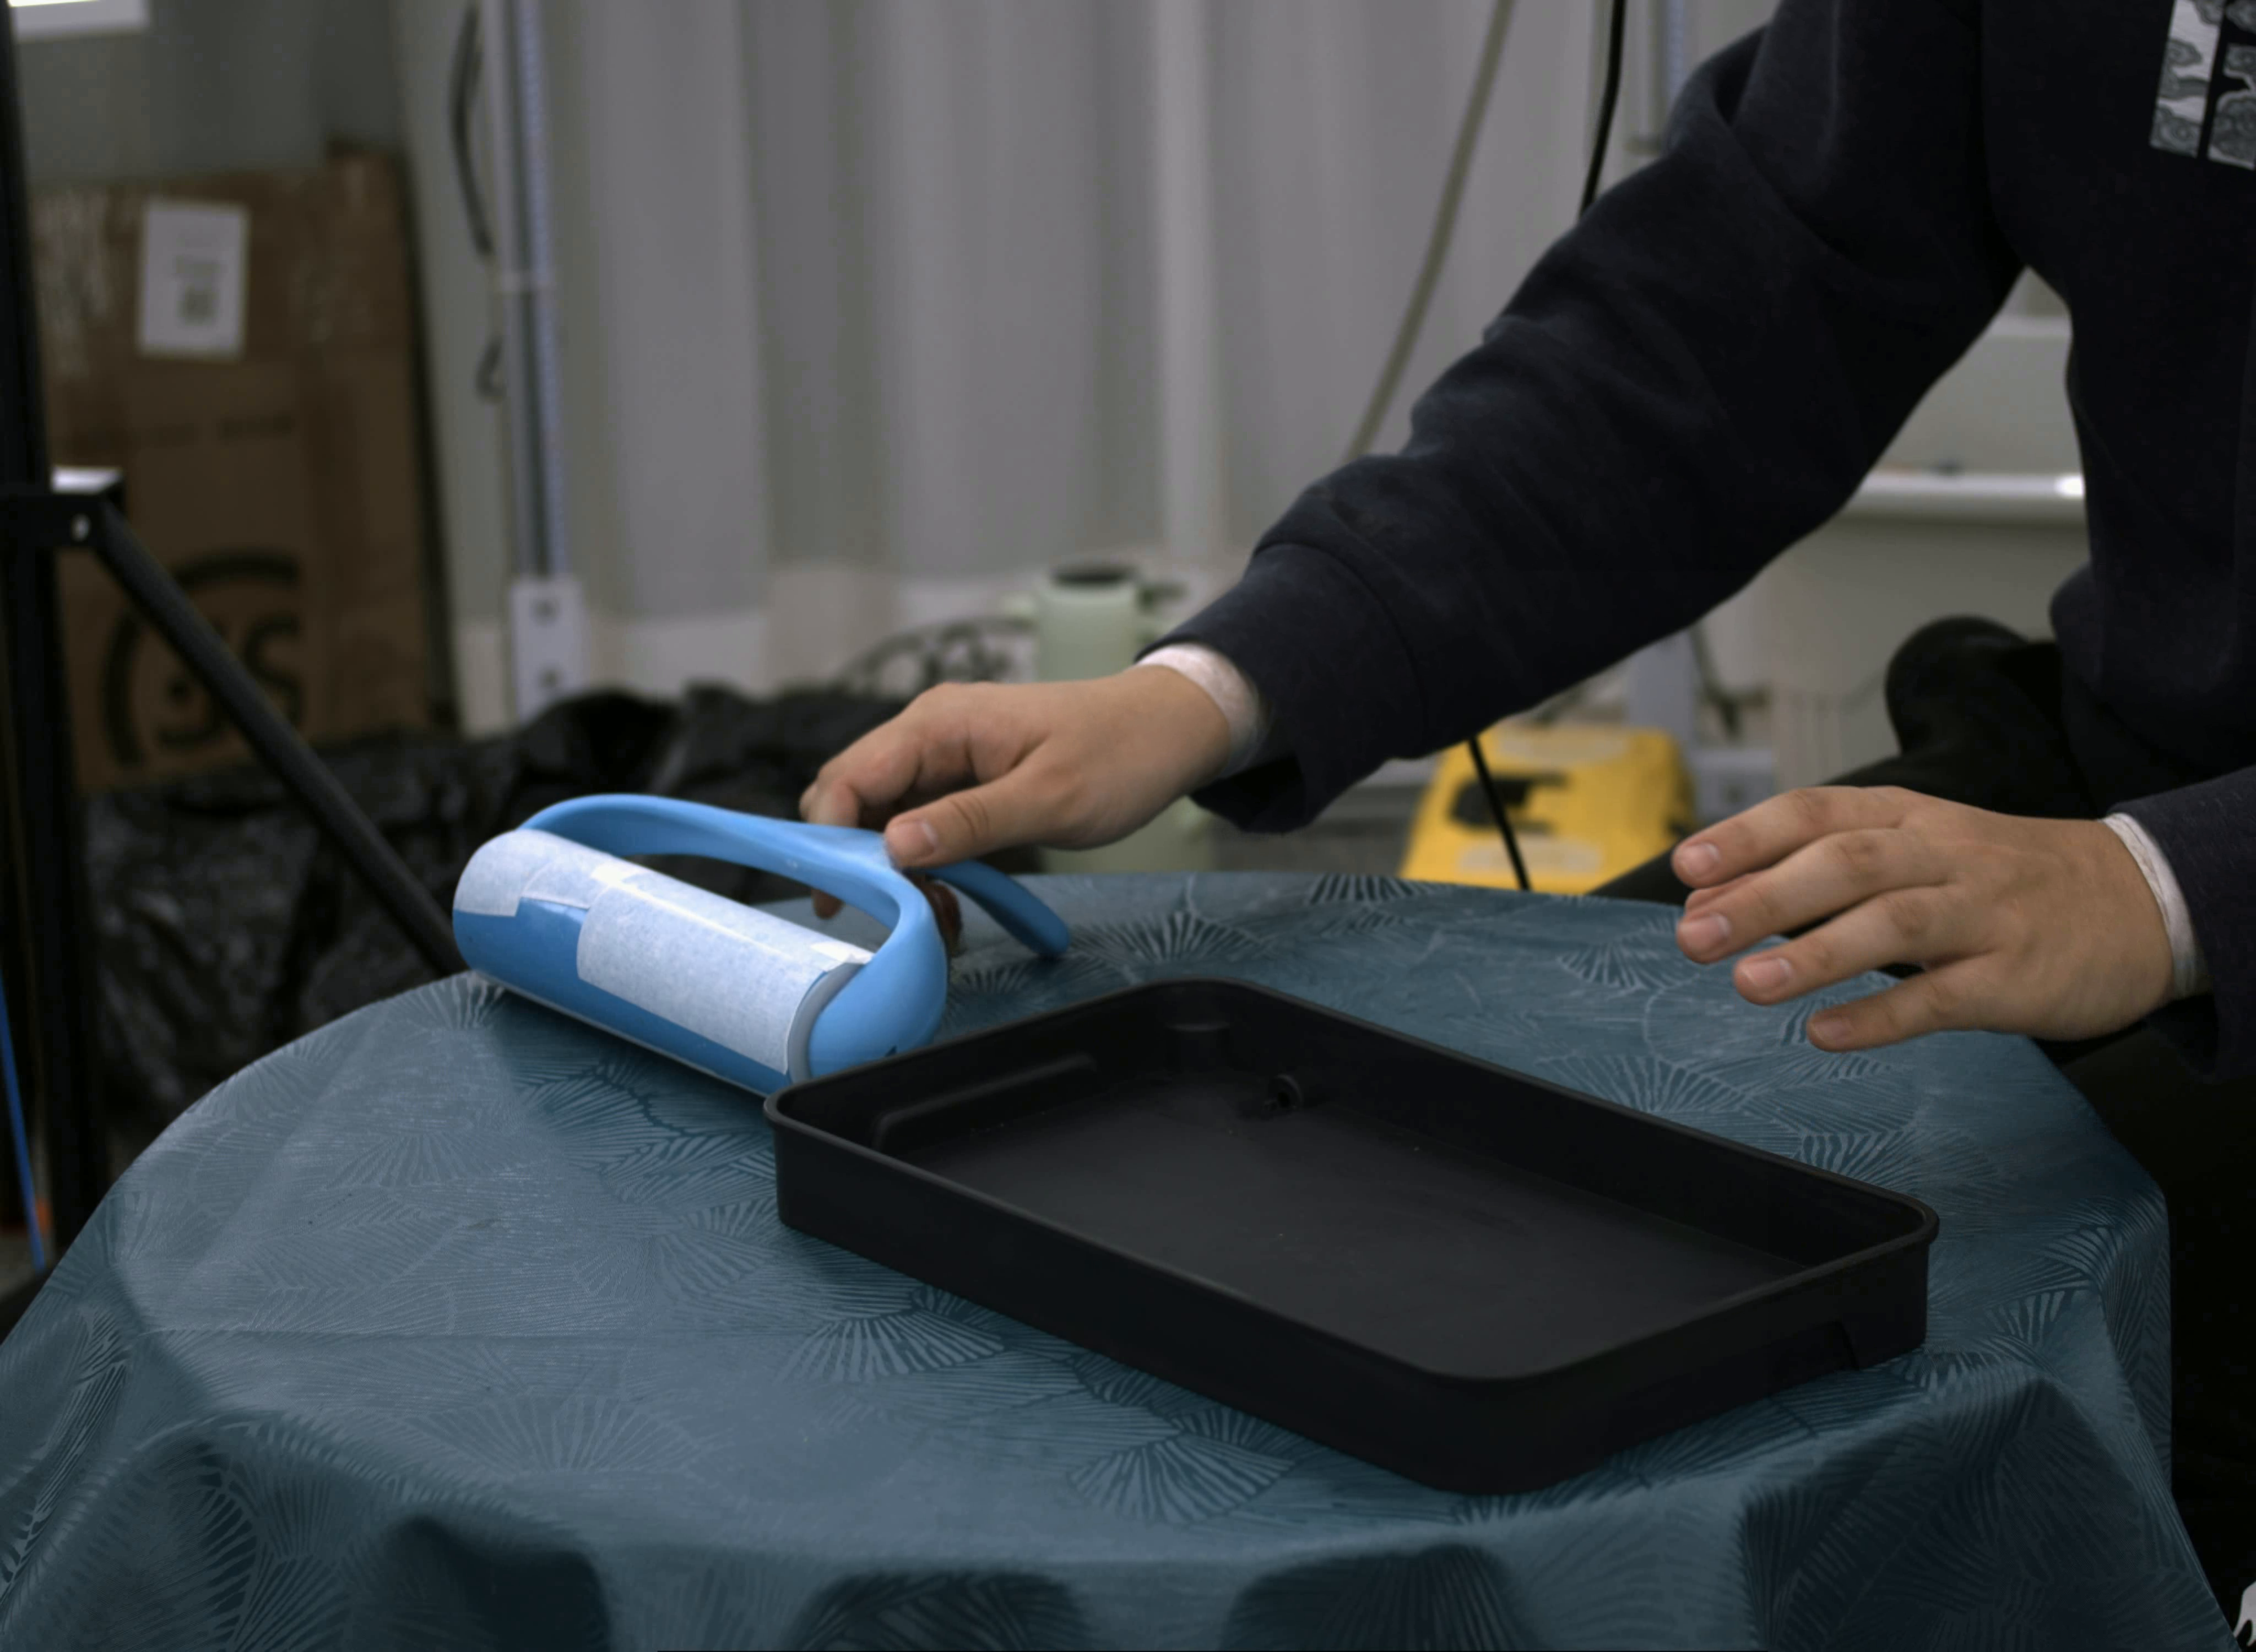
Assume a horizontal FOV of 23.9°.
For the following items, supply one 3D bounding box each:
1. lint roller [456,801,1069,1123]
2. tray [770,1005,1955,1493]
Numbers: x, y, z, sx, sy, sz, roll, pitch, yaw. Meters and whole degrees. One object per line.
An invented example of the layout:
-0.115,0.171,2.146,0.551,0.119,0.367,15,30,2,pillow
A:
-0.096,0.033,1.728,0.176,0.068,0.234,-16,19,-36,lint roller
0.060,0.112,1.480,0.180,0.037,0.325,-15,18,-37,tray
